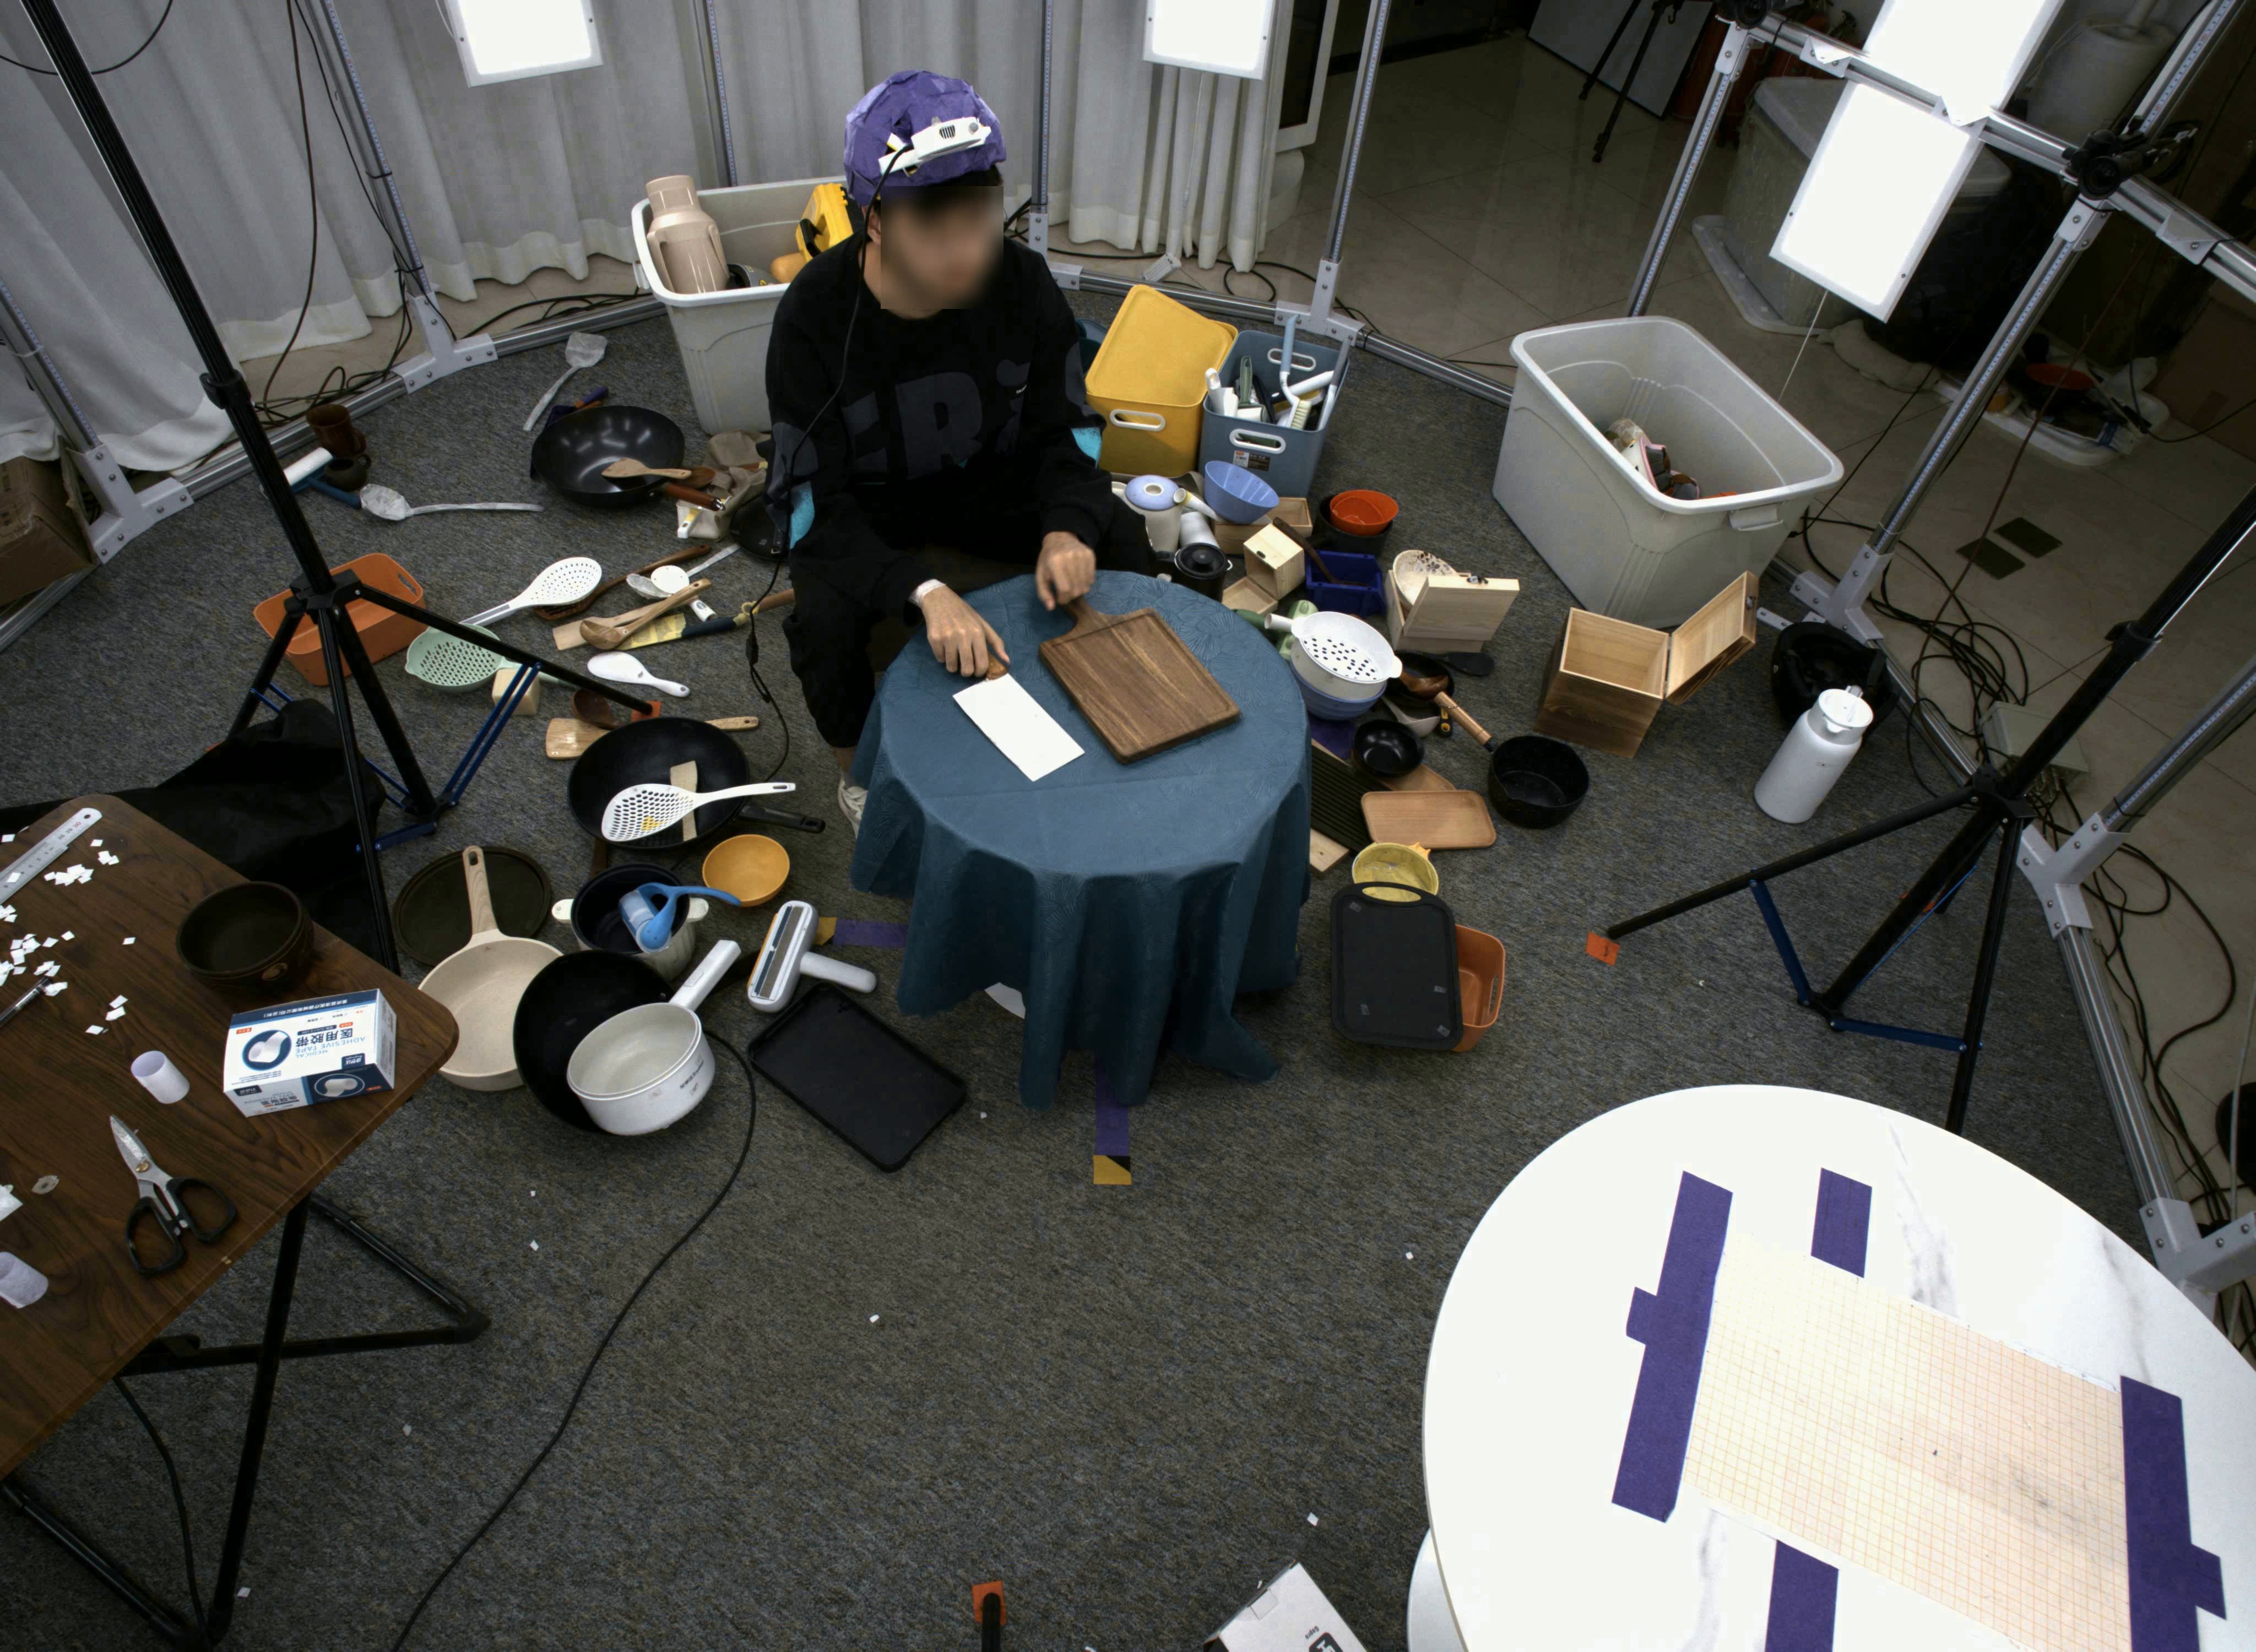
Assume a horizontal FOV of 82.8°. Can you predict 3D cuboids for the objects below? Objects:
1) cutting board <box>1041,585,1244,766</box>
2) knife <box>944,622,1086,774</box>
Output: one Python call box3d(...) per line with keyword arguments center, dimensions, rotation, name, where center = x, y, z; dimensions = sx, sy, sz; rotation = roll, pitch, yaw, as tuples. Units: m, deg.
box3d(center=(-0.007, -0.240, 1.863), dimensions=(0.201, 0.022, 0.359), rotation=(-22, 54, -21), name="cutting board")
box3d(center=(-0.182, -0.179, 1.802), dimensions=(0.093, 0.020, 0.311), rotation=(-30, 59, -24), name="knife")
